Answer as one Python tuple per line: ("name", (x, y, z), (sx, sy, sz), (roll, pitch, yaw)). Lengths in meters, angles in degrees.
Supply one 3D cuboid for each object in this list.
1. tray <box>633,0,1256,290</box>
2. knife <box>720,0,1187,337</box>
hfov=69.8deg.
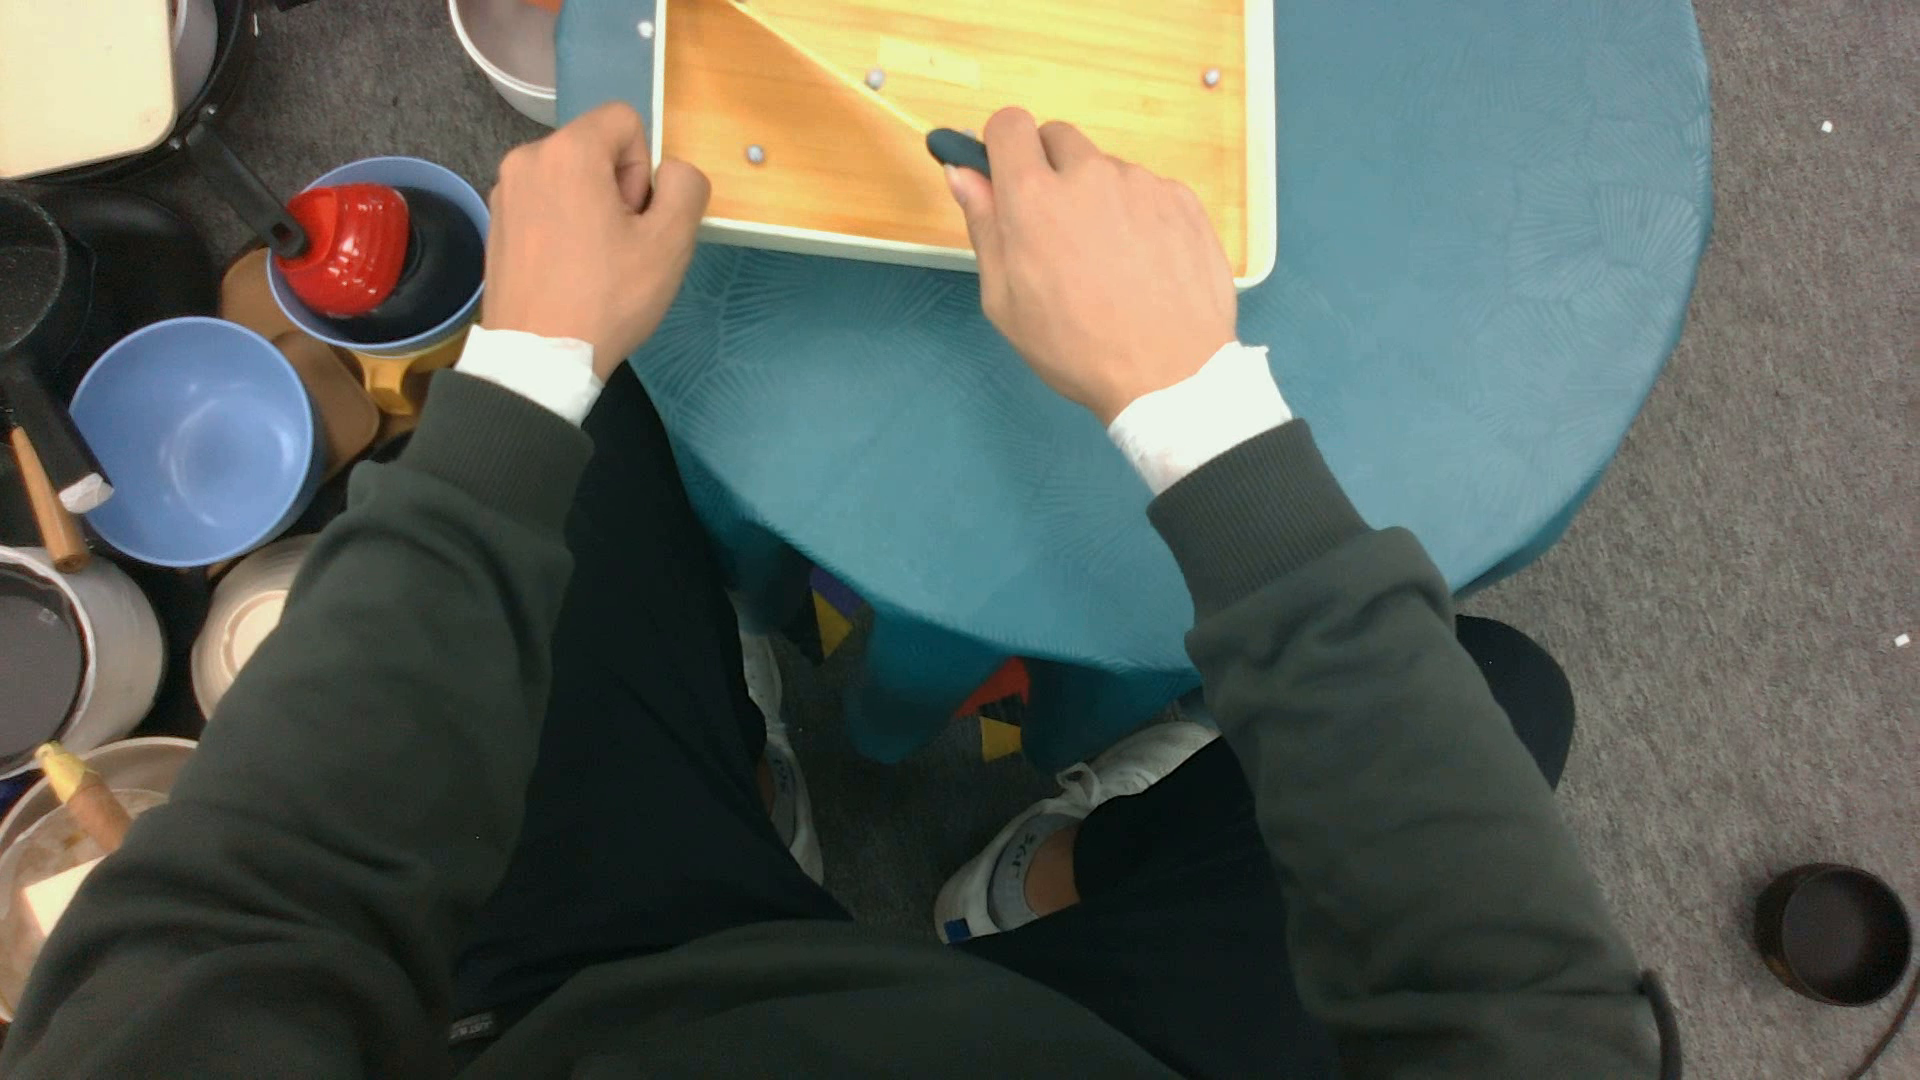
("tray", (0.001, -0.227, 0.656), (0.301, 0.027, 0.192), (3, 82, -17))
("knife", (-0.021, -0.178, 0.588), (0.289, 0.081, 0.027), (38, 110, 8))
